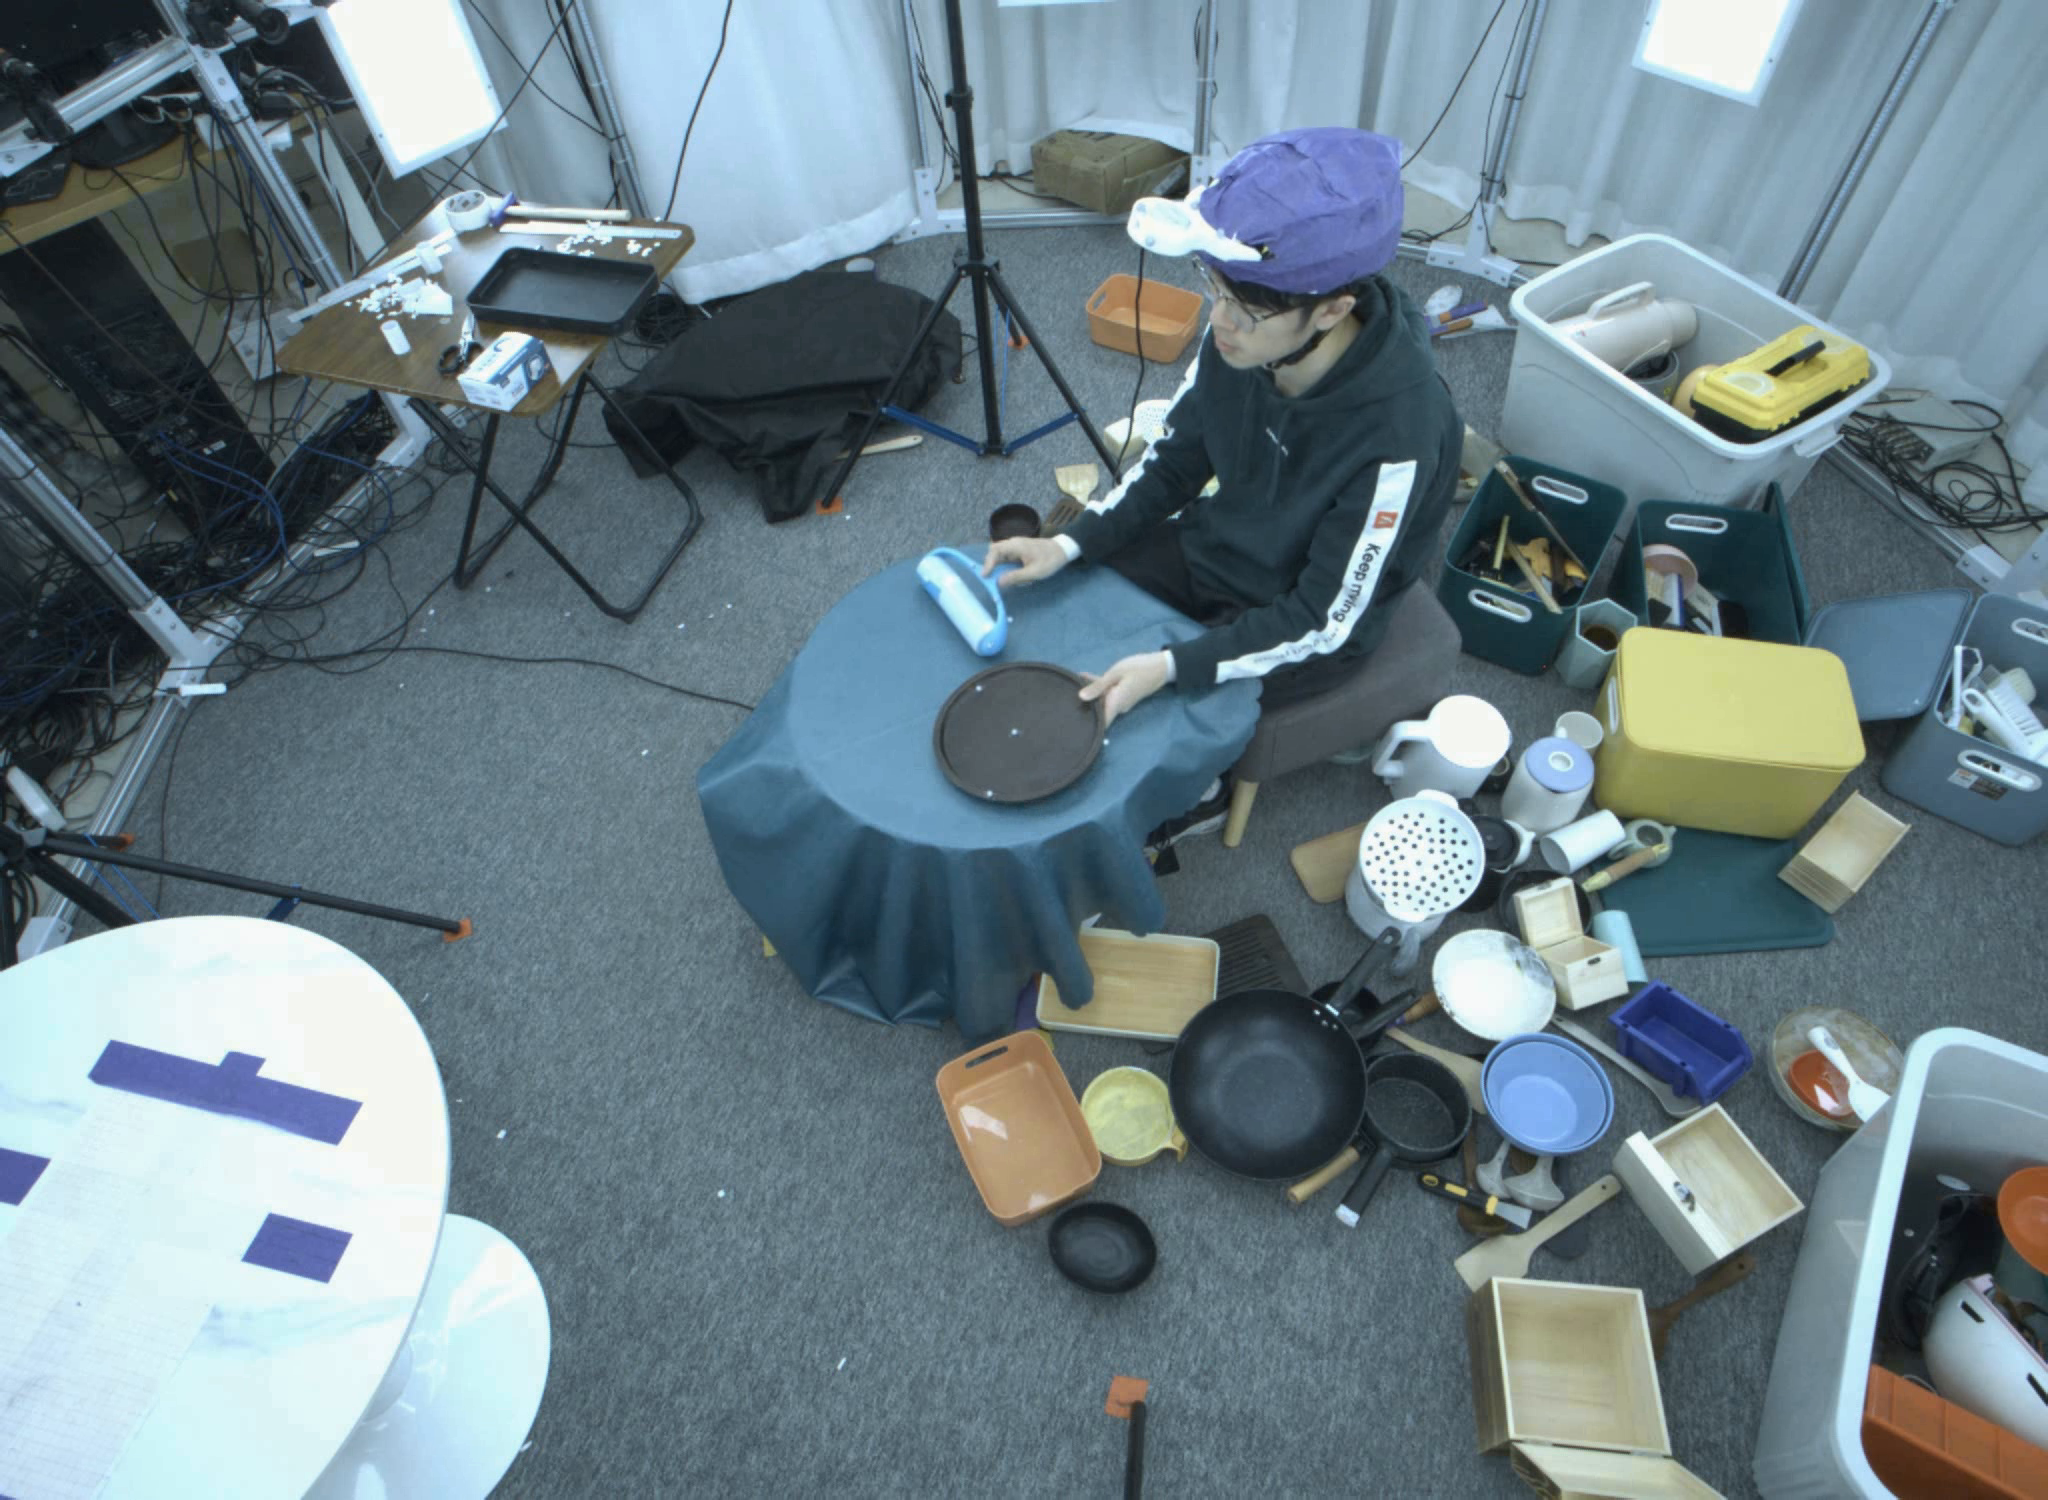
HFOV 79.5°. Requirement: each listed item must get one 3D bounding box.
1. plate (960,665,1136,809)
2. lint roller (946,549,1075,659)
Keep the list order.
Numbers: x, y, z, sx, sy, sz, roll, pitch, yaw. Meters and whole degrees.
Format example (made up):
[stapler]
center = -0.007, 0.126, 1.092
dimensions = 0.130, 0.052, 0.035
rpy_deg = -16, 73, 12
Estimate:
[plate]
center = 0.034, -0.020, 1.771
dimensions = 0.254, 0.029, 0.252
rpy_deg = -3, 56, 5
[lint roller]
center = -0.004, -0.255, 1.923
dimensions = 0.181, 0.069, 0.224
rpy_deg = -32, 57, -12
